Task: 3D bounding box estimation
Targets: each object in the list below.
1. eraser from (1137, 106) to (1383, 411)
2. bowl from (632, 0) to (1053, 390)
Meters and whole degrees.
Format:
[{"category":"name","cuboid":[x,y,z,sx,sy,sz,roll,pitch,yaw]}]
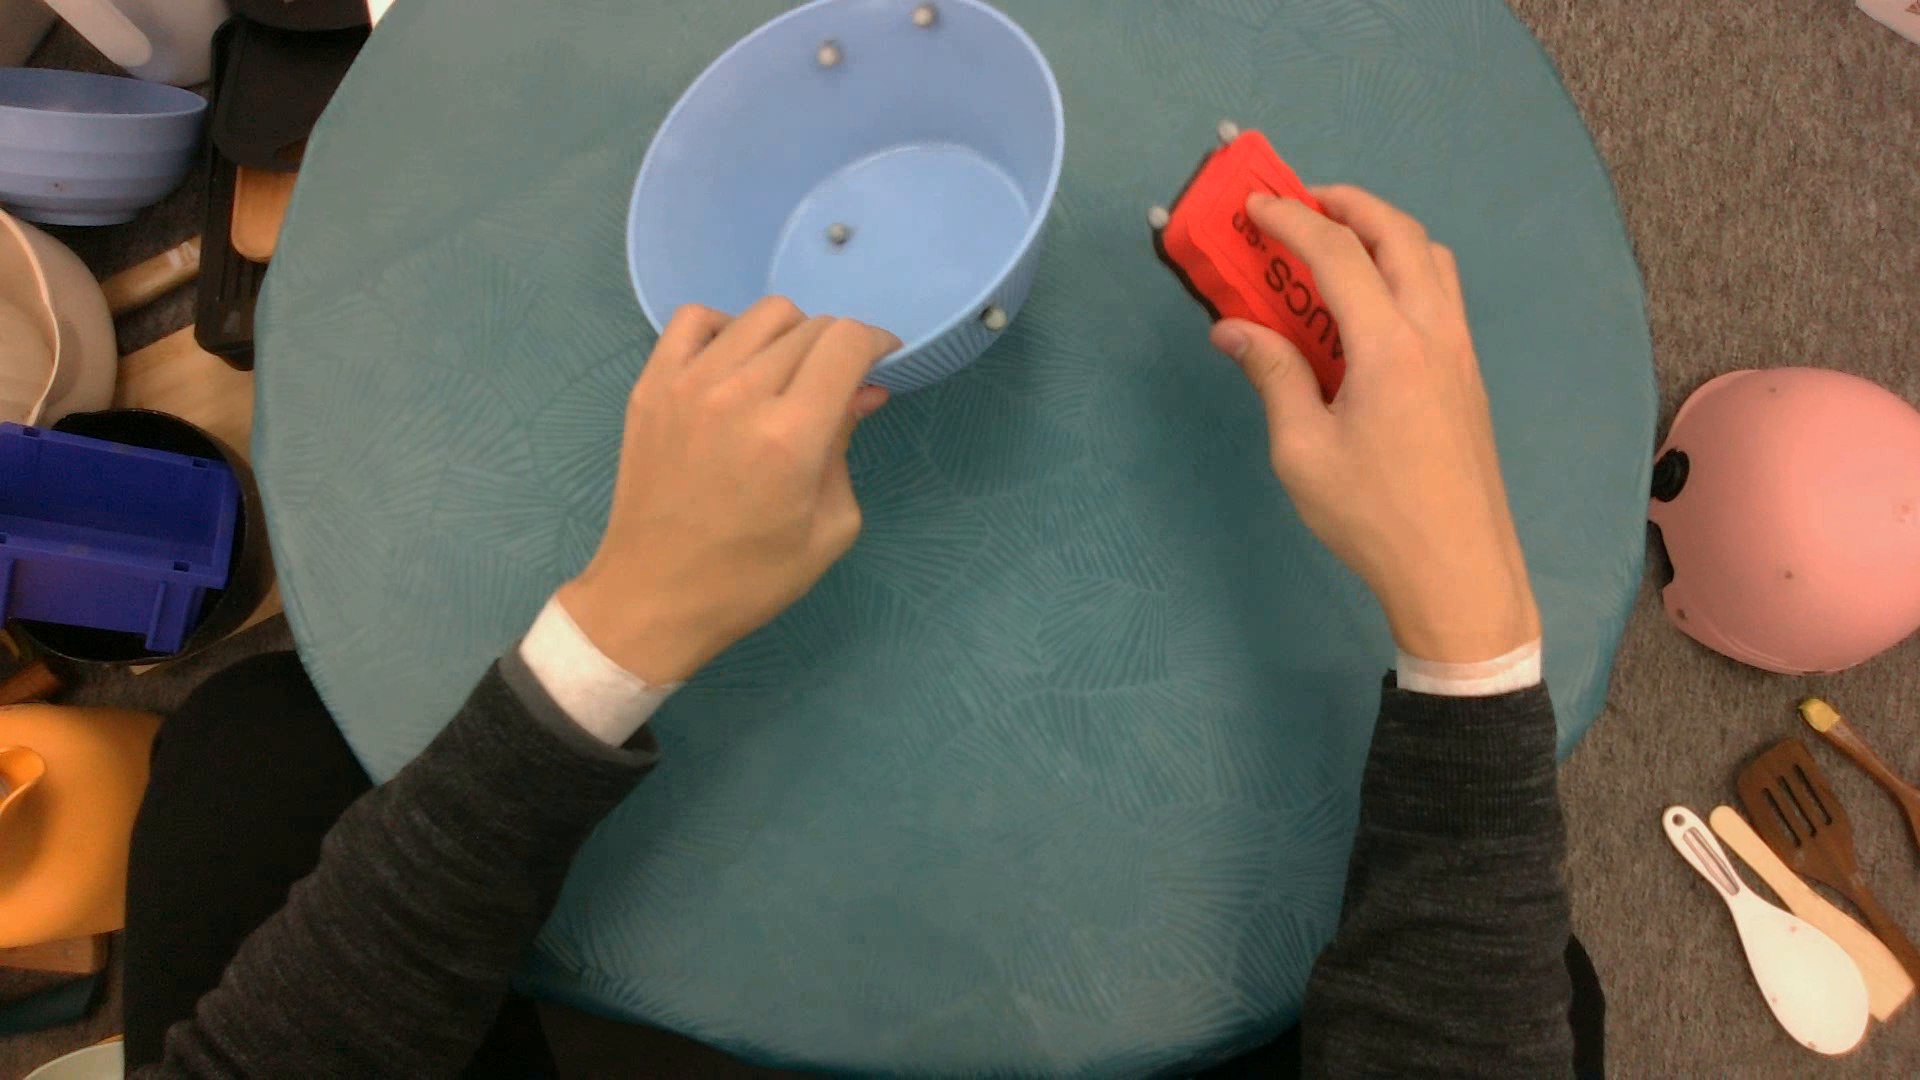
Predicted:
[{"category":"eraser","cuboid":[0.113,-0.102,0.508,0.108,0.023,0.059,43,61,-26]},{"category":"bowl","cuboid":[-0.036,-0.125,0.536,0.175,0.070,0.176,-10,63,20]}]
